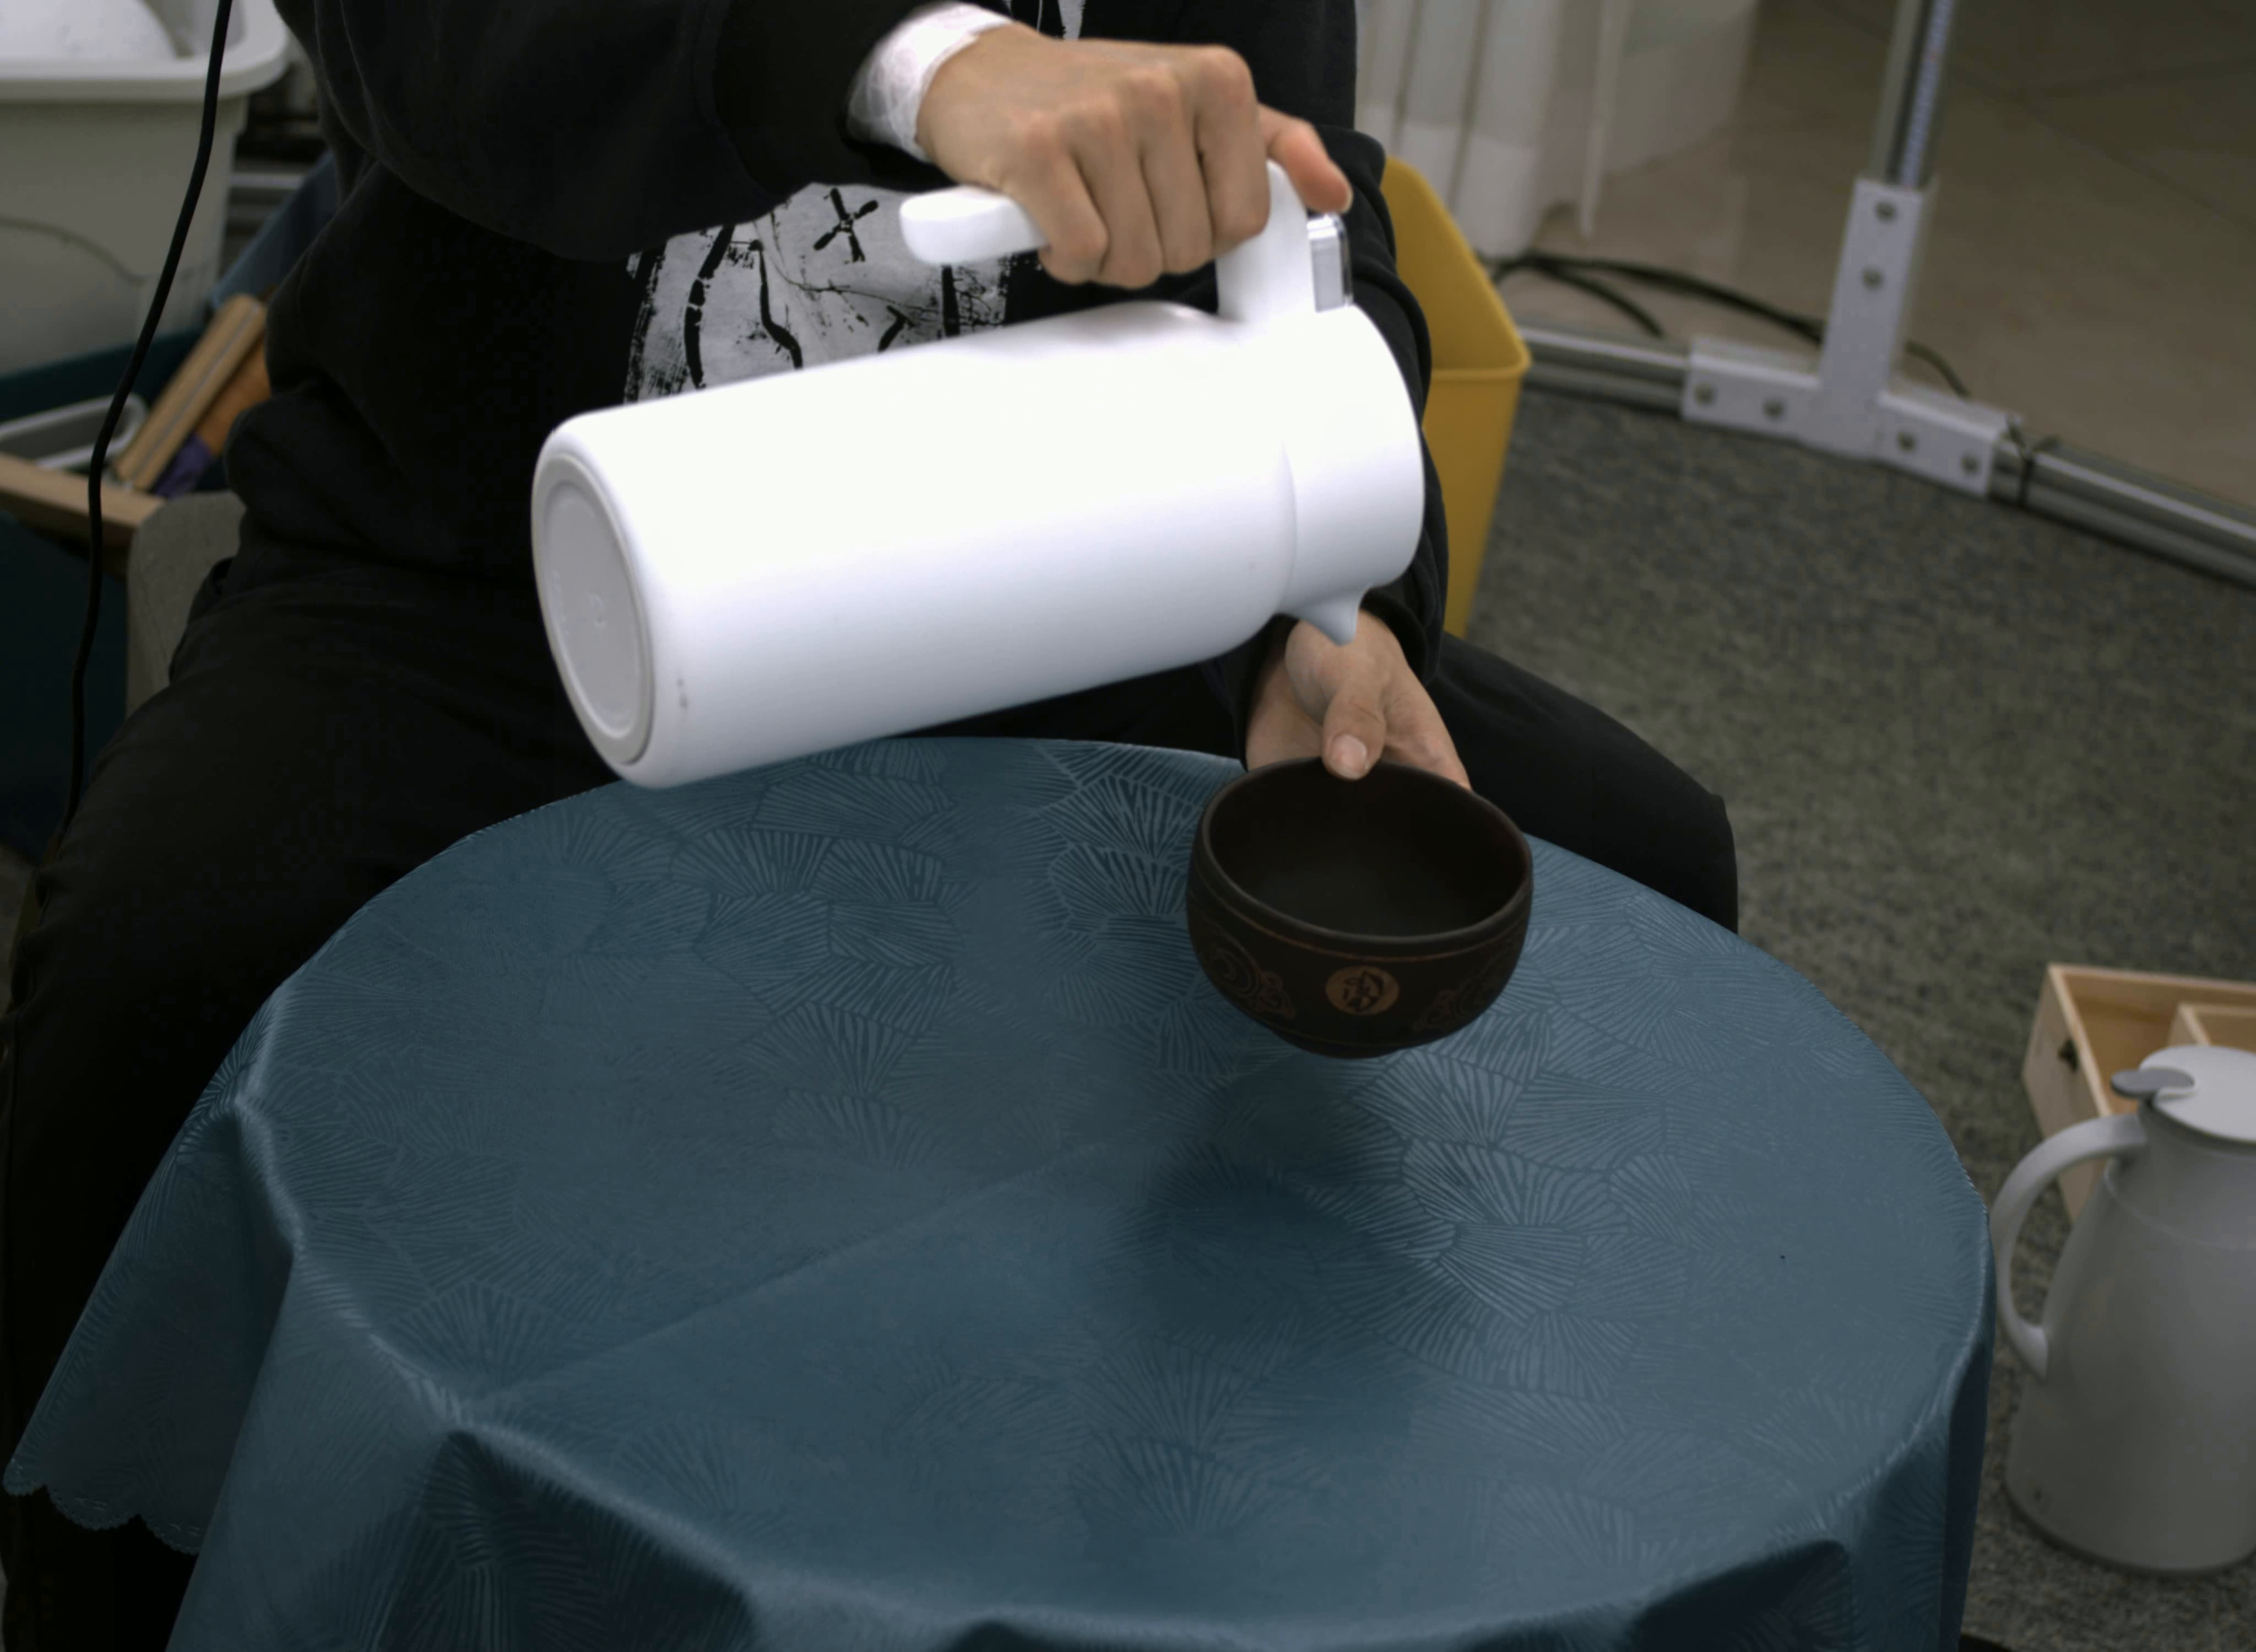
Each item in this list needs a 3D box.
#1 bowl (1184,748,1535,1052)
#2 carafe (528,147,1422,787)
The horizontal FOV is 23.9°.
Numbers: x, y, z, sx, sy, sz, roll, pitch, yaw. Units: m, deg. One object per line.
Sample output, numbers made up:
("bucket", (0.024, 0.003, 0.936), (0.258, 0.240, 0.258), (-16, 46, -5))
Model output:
("bowl", (0.076, 0.033, 1.802), (0.117, 0.069, 0.119), (4, 32, -3))
("carafe", (-0.048, -0.111, 1.665), (0.267, 0.172, 0.125), (-13, 22, -21))
